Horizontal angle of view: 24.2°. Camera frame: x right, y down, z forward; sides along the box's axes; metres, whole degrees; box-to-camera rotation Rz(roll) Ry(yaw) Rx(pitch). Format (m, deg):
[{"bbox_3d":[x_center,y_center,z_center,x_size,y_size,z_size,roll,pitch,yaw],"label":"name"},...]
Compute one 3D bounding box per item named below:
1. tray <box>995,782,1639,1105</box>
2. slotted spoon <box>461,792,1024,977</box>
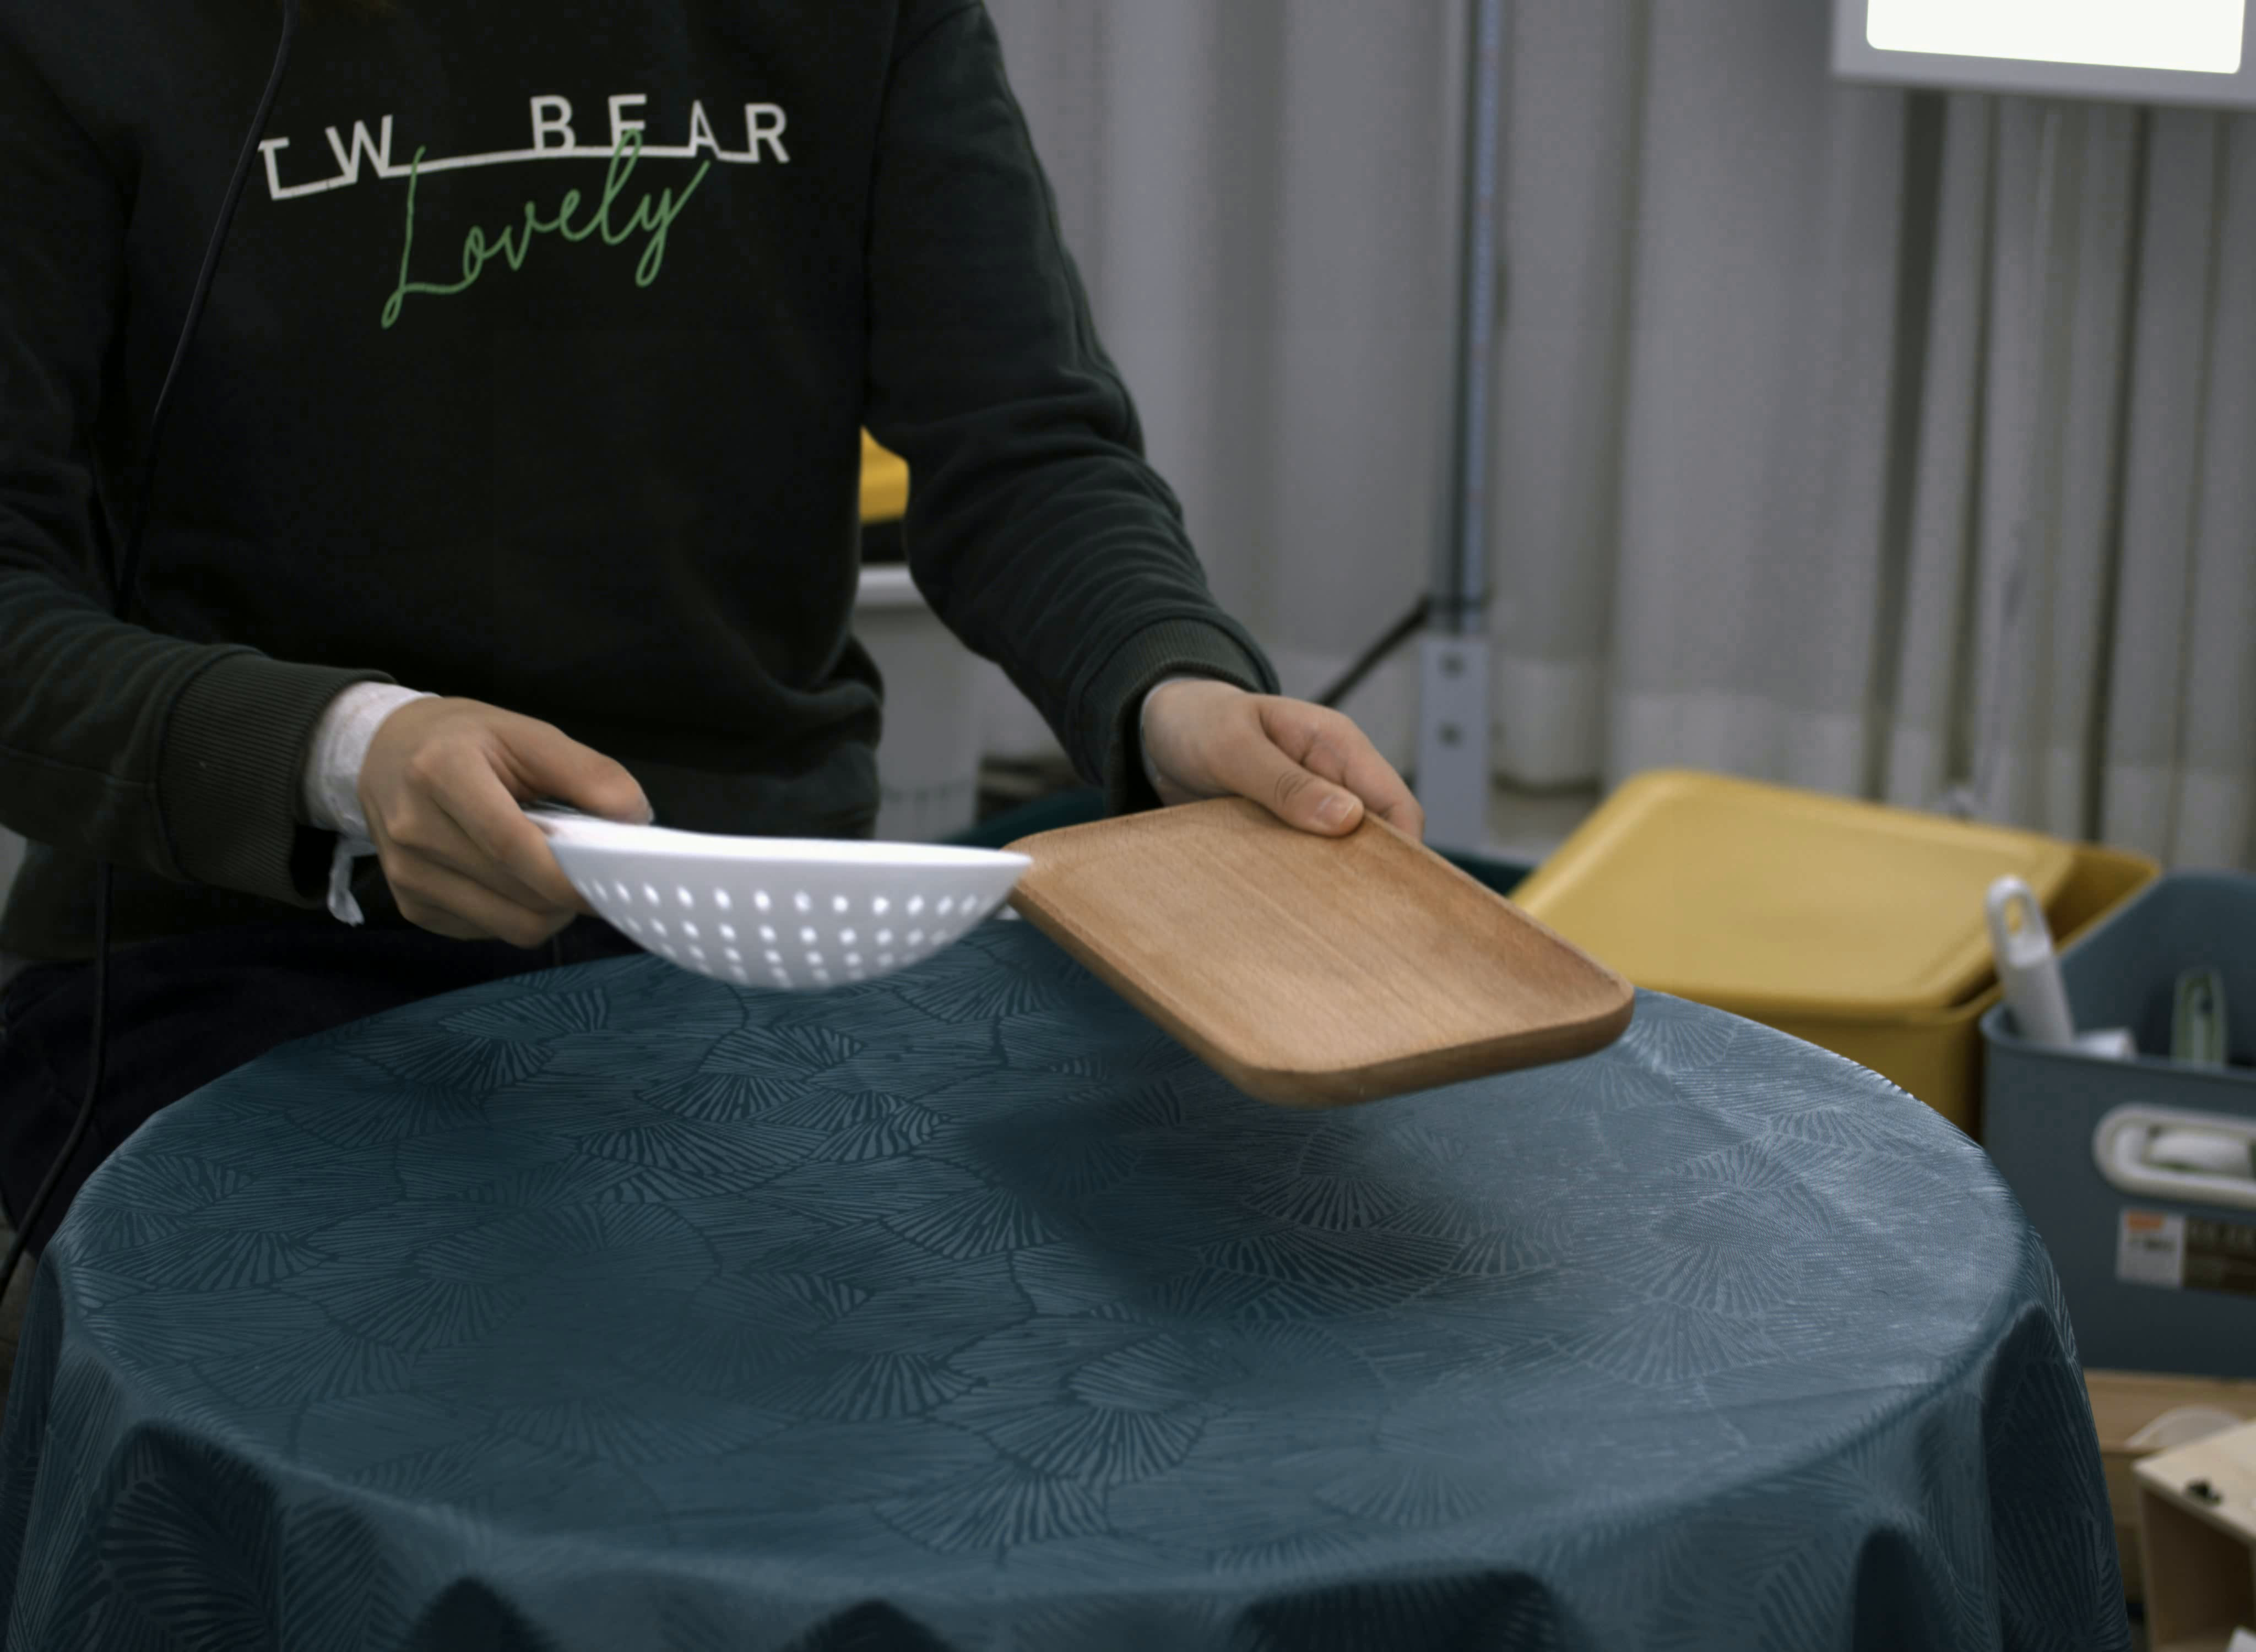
[{"bbox_3d":[0.053,0.033,1.611,0.131,0.023,0.248,-8,18,-20],"label":"tray"},{"bbox_3d":[-0.140,0.005,1.564,0.137,0.046,0.346,3,6,-24],"label":"slotted spoon"}]
